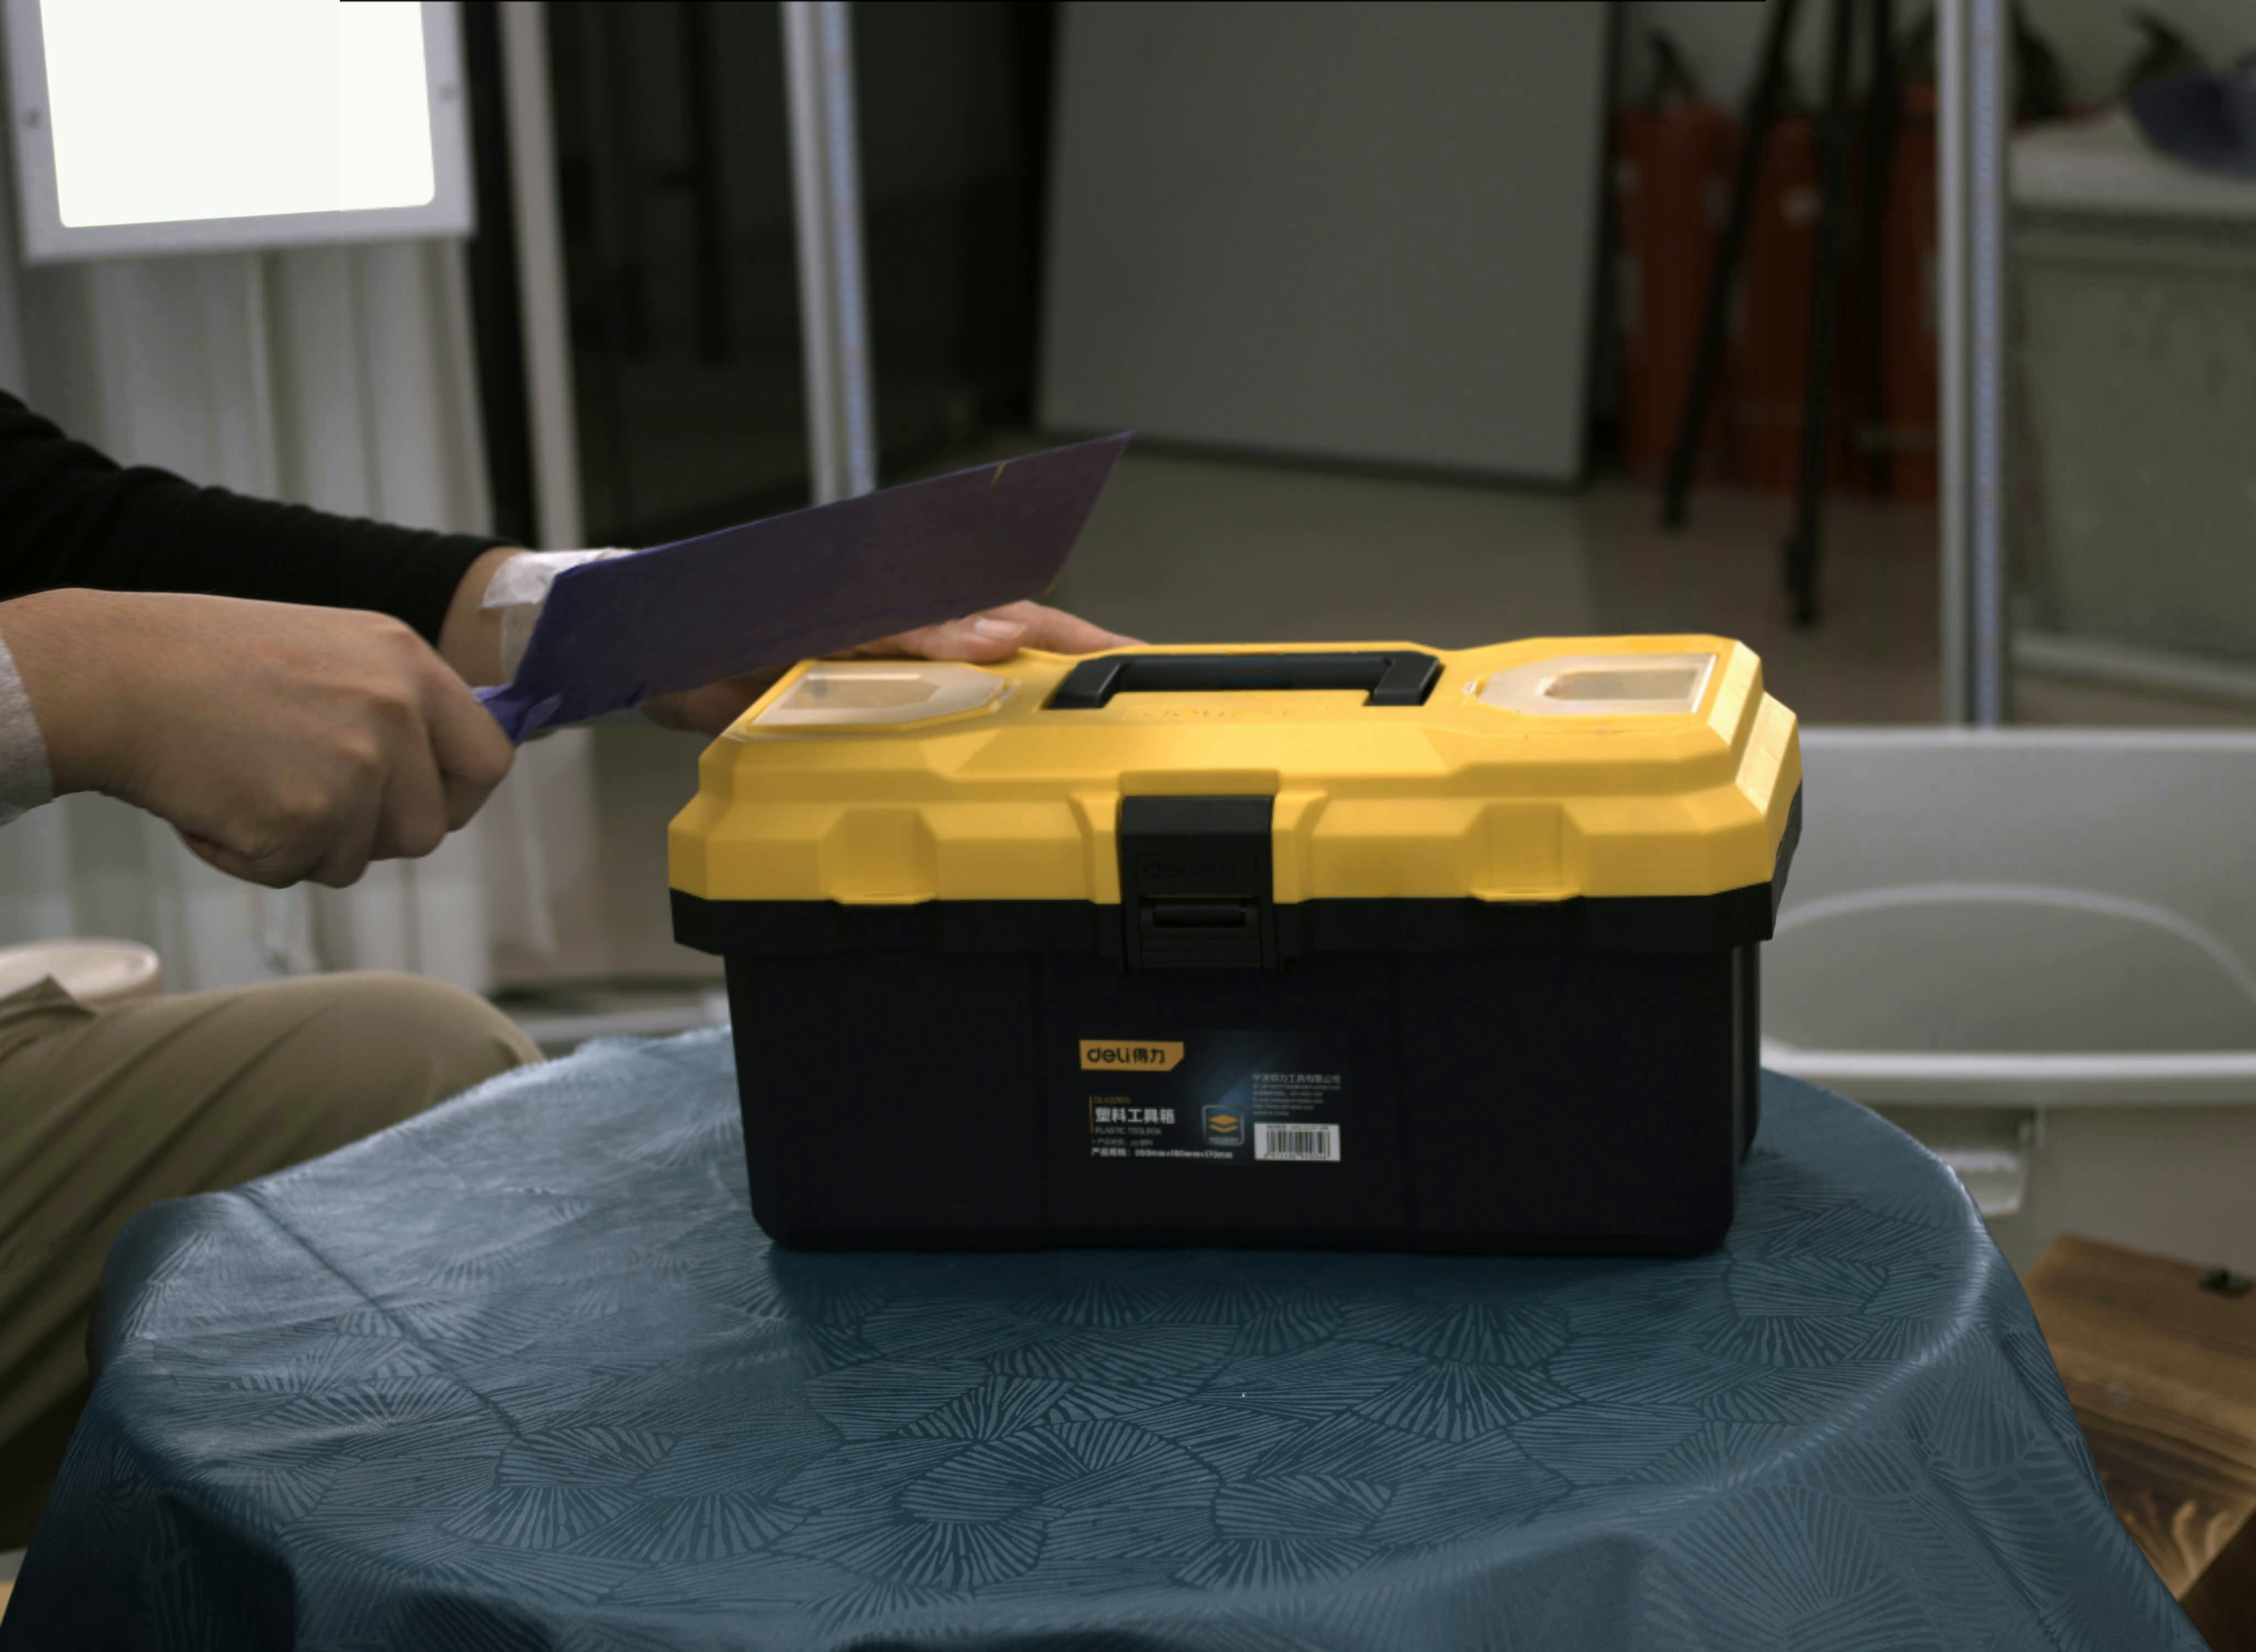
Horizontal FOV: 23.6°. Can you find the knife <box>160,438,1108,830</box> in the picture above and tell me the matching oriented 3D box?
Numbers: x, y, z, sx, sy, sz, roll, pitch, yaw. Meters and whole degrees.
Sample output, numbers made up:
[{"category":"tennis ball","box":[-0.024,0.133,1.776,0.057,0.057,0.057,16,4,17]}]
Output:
[{"category":"knife","box":[-0.146,-0.067,1.662,0.309,0.105,0.032,-17,63,-32]}]

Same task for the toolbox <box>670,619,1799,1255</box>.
[{"category":"toolbox","box":[0.039,0.037,1.735,0.349,0.175,0.180,-1,13,14]}]
